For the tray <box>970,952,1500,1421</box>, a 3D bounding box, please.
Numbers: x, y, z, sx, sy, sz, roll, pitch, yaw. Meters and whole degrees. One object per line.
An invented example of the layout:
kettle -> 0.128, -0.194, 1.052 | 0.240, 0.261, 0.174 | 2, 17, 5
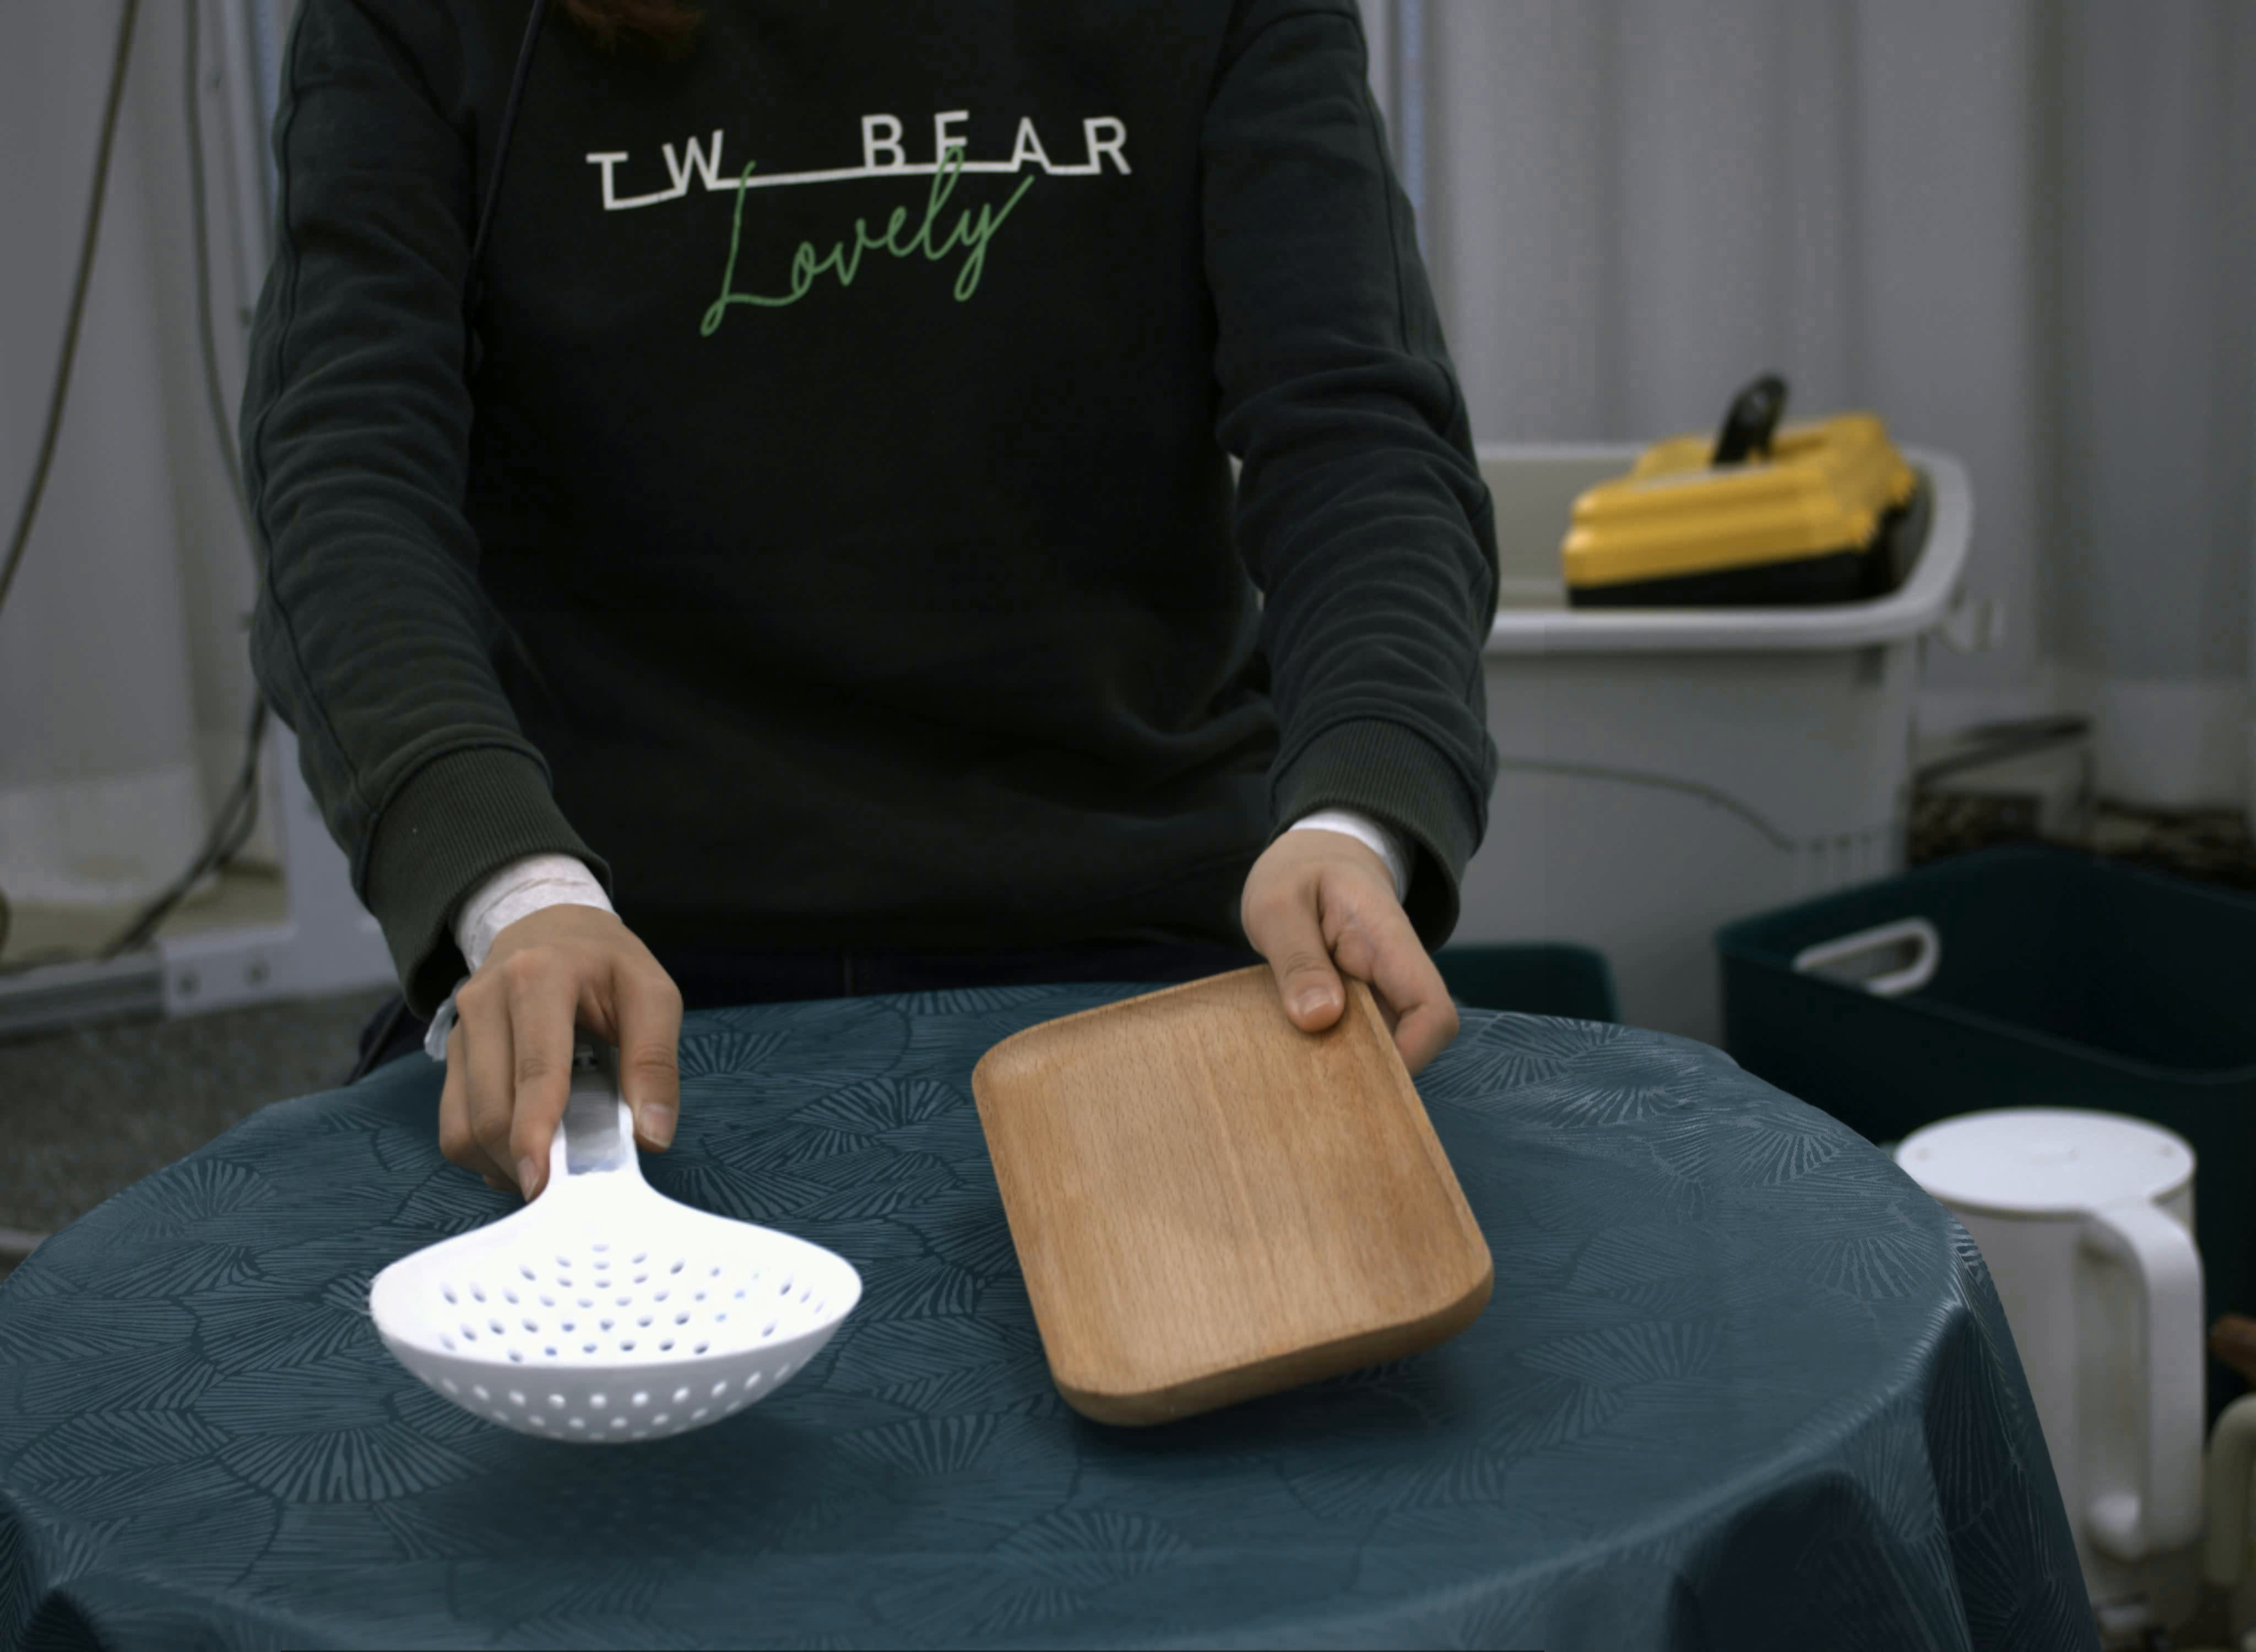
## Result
tray -> 0.028, 0.102, 1.603 | 0.130, 0.023, 0.253 | -13, 22, -3

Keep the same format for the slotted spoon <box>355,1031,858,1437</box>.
slotted spoon -> -0.154, 0.109, 1.587 | 0.135, 0.045, 0.352 | 0, 16, -7
